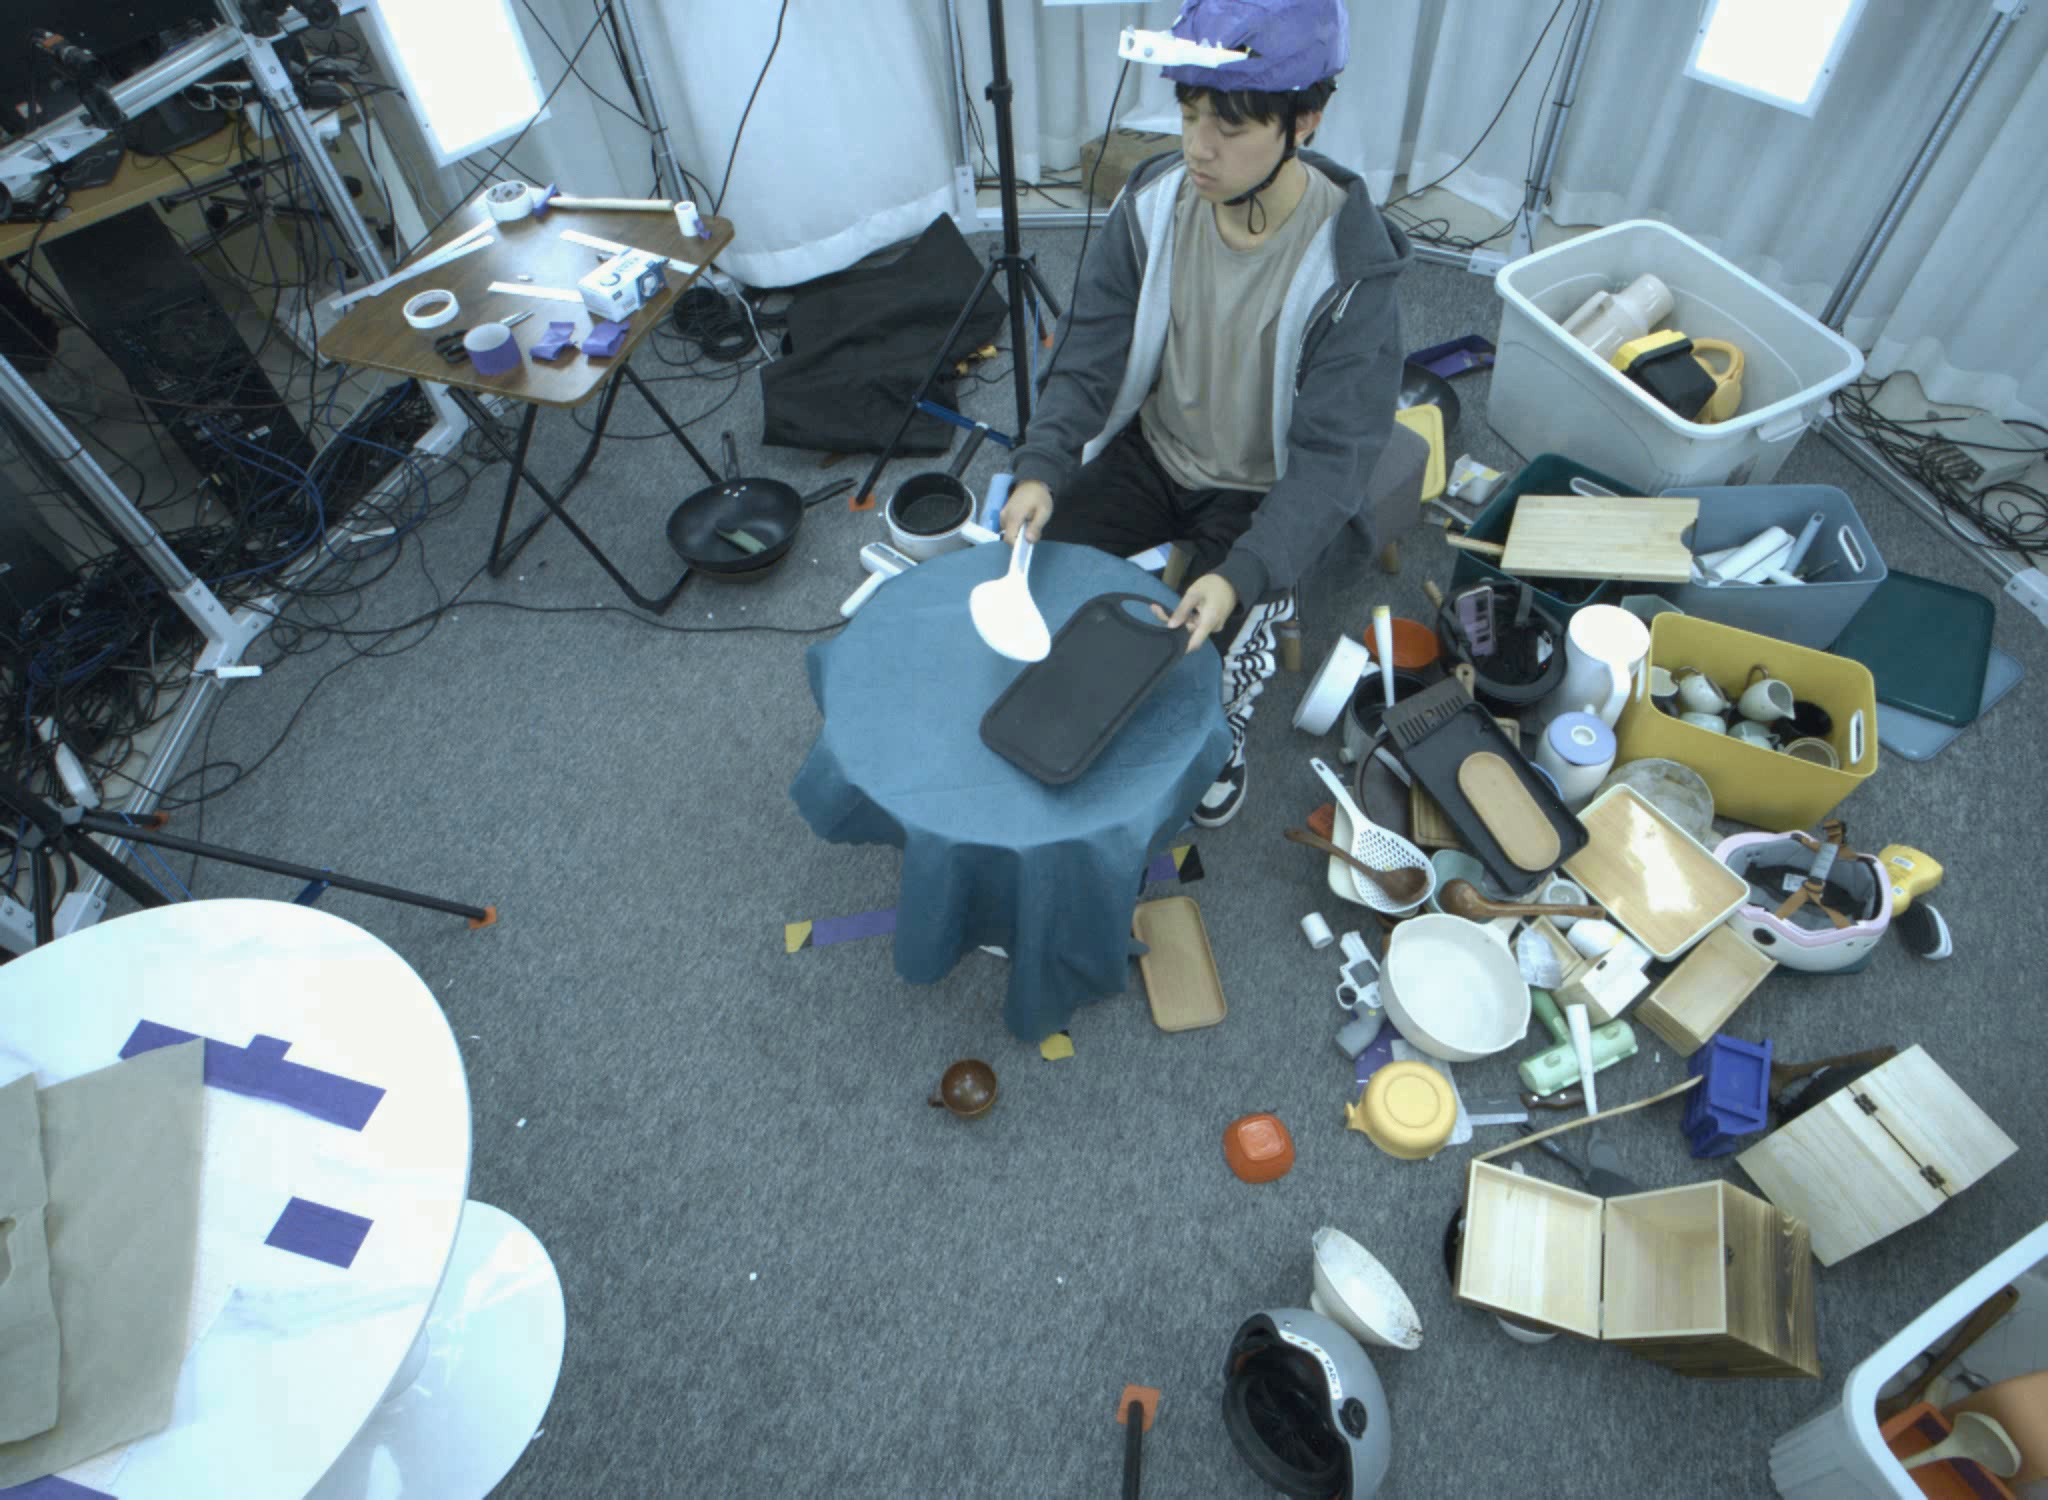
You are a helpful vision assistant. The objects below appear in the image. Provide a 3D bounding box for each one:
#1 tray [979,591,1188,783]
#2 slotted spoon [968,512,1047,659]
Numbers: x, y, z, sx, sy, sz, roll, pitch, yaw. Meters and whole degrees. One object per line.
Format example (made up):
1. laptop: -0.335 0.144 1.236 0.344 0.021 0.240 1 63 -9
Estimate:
1. tray: 0.089 -0.104 1.789 0.206 0.010 0.326 33 75 37
2. slotted spoon: -0.015 -0.252 1.810 0.138 0.045 0.347 33 43 -21
